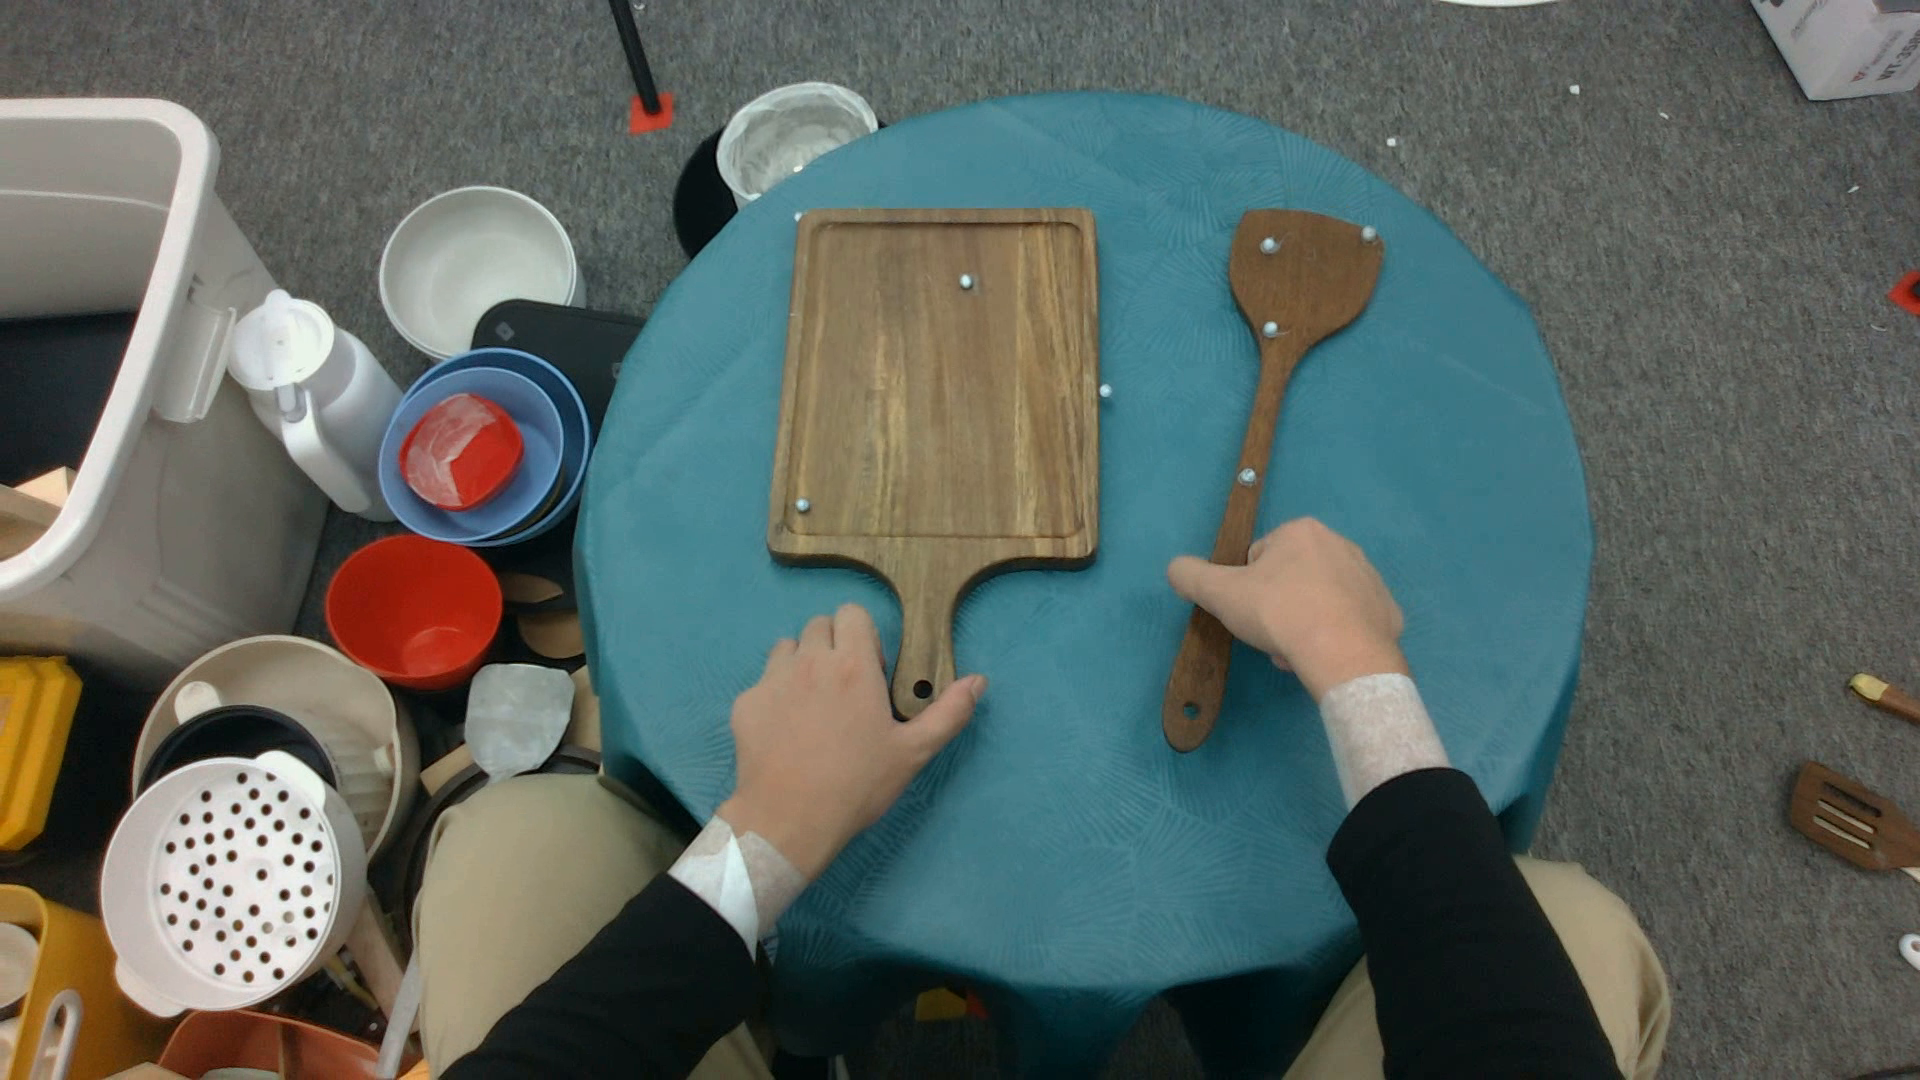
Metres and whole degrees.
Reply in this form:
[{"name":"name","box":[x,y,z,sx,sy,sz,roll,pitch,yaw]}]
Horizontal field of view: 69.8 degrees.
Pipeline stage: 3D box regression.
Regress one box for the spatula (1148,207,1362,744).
[{"name":"spatula","box":[0.164,-0.055,0.809,0.096,0.016,0.388,15,60,8]}]

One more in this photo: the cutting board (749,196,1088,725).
[{"name":"cutting board","box":[-0.025,-0.060,0.831,0.201,0.023,0.353,0,65,3]}]
